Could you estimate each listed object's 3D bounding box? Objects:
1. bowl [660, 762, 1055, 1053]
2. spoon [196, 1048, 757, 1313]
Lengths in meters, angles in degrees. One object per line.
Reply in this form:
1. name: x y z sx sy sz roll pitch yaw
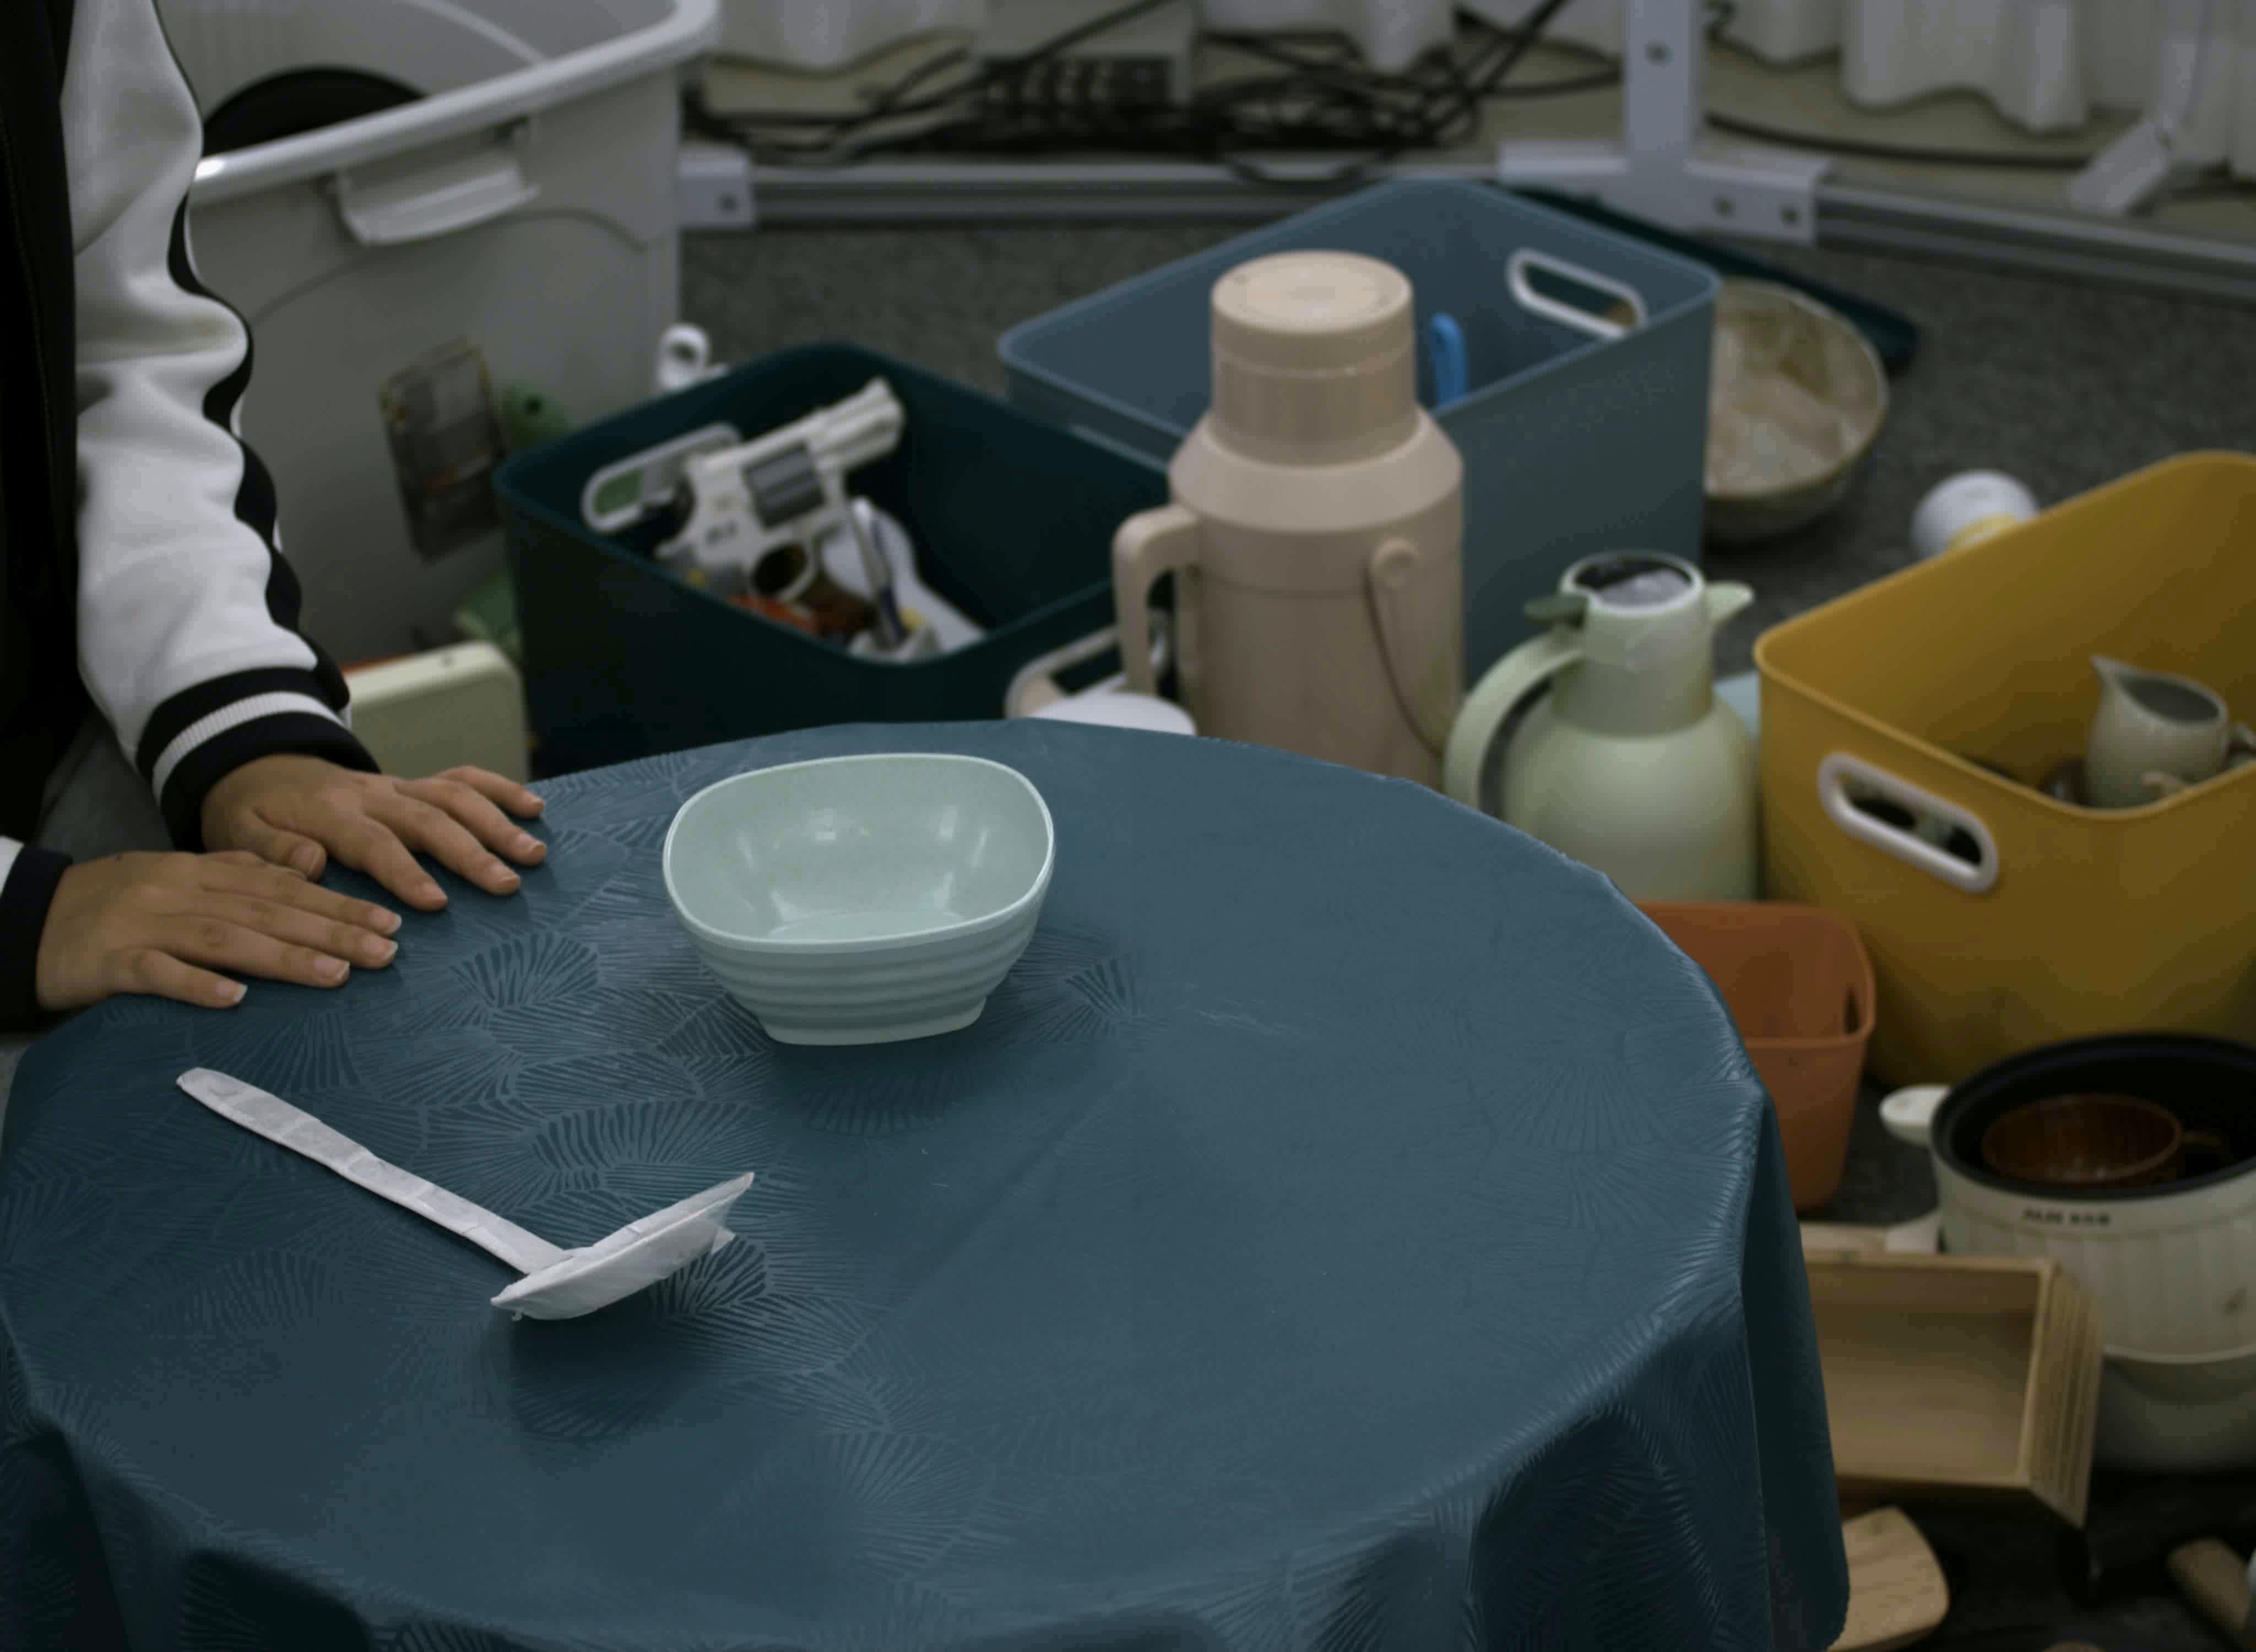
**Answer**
1. bowl: -0.094 0.034 1.983 0.151 0.058 0.154 -2 27 1
2. spoon: -0.226 0.100 1.863 0.101 0.059 0.277 -19 31 -38
